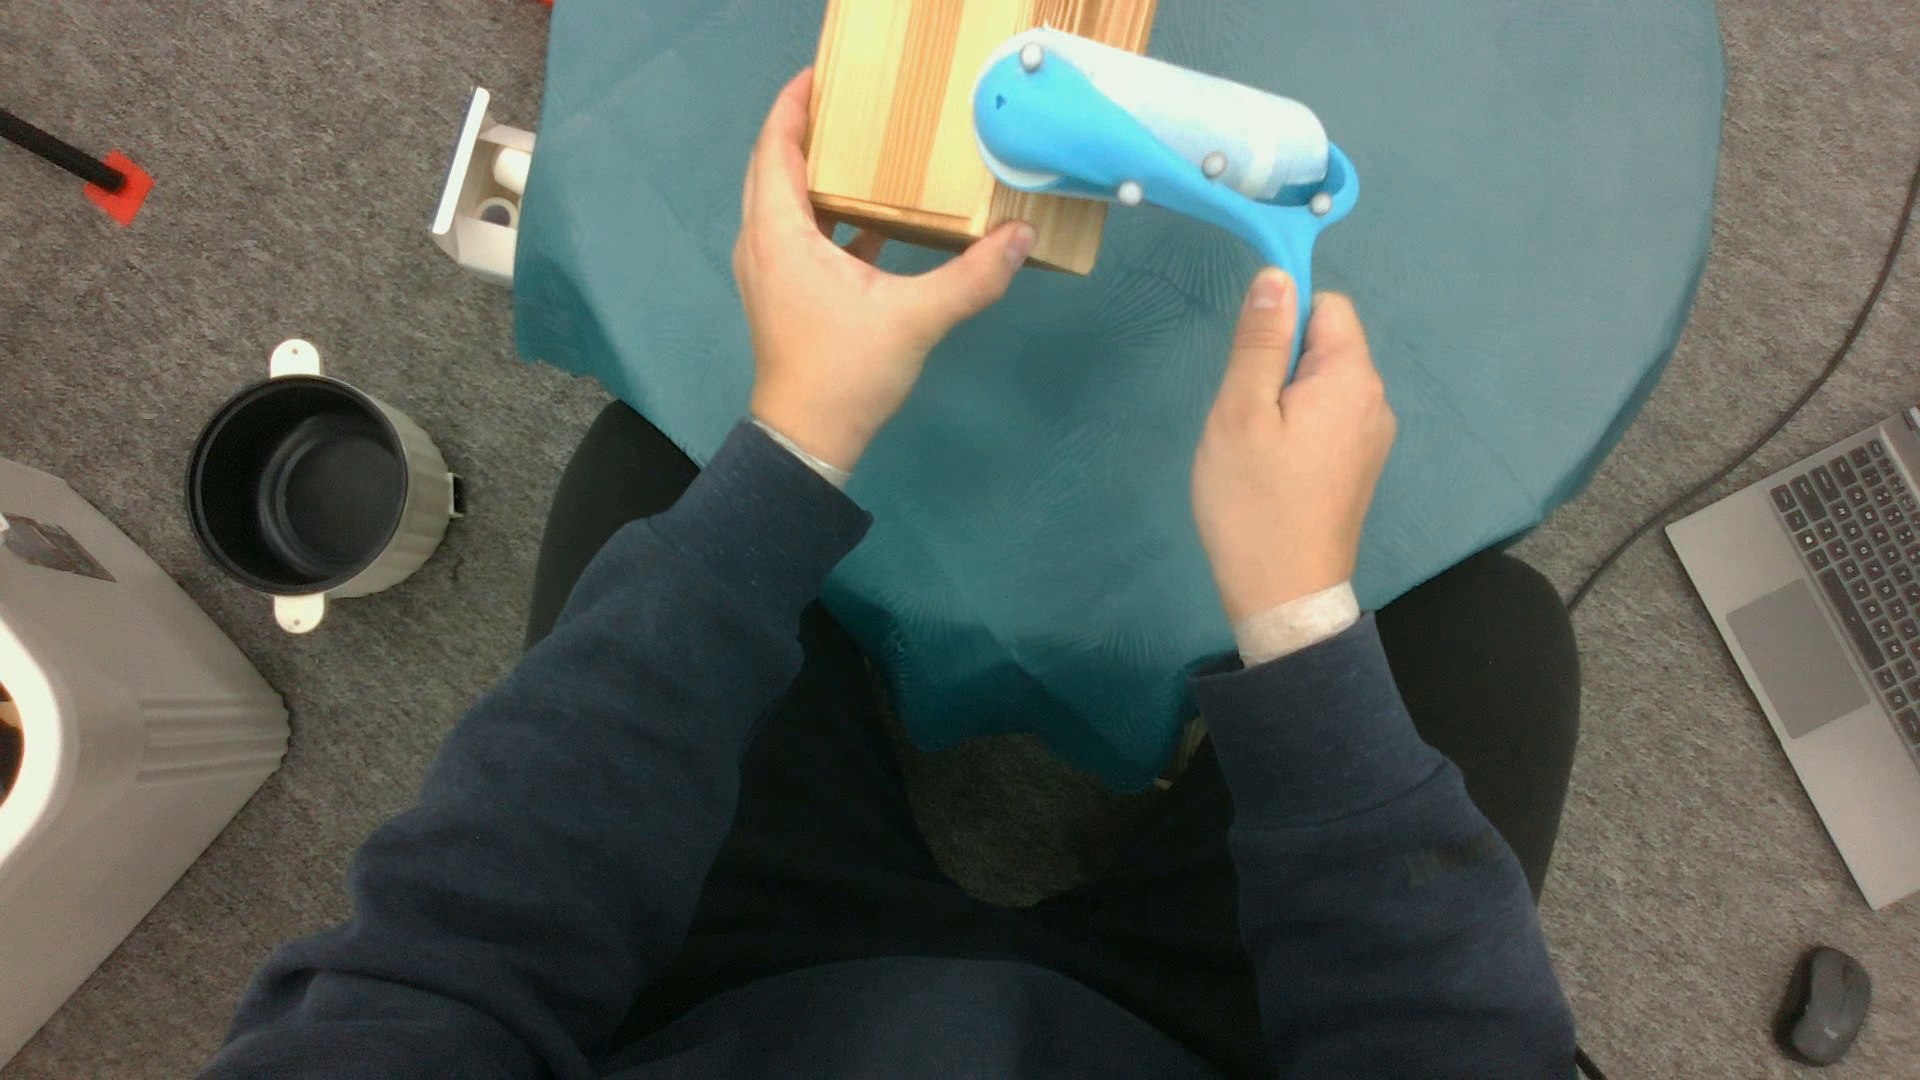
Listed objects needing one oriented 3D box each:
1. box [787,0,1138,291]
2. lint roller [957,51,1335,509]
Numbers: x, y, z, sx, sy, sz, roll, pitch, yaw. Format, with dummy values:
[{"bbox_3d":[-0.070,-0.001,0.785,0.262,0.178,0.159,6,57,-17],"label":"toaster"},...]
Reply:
[{"bbox_3d":[0.008,-0.220,0.581,0.107,0.080,0.211,15,98,37],"label":"box"},{"bbox_3d":[0.103,-0.106,0.556,0.067,0.230,0.180,-30,82,36],"label":"lint roller"}]
